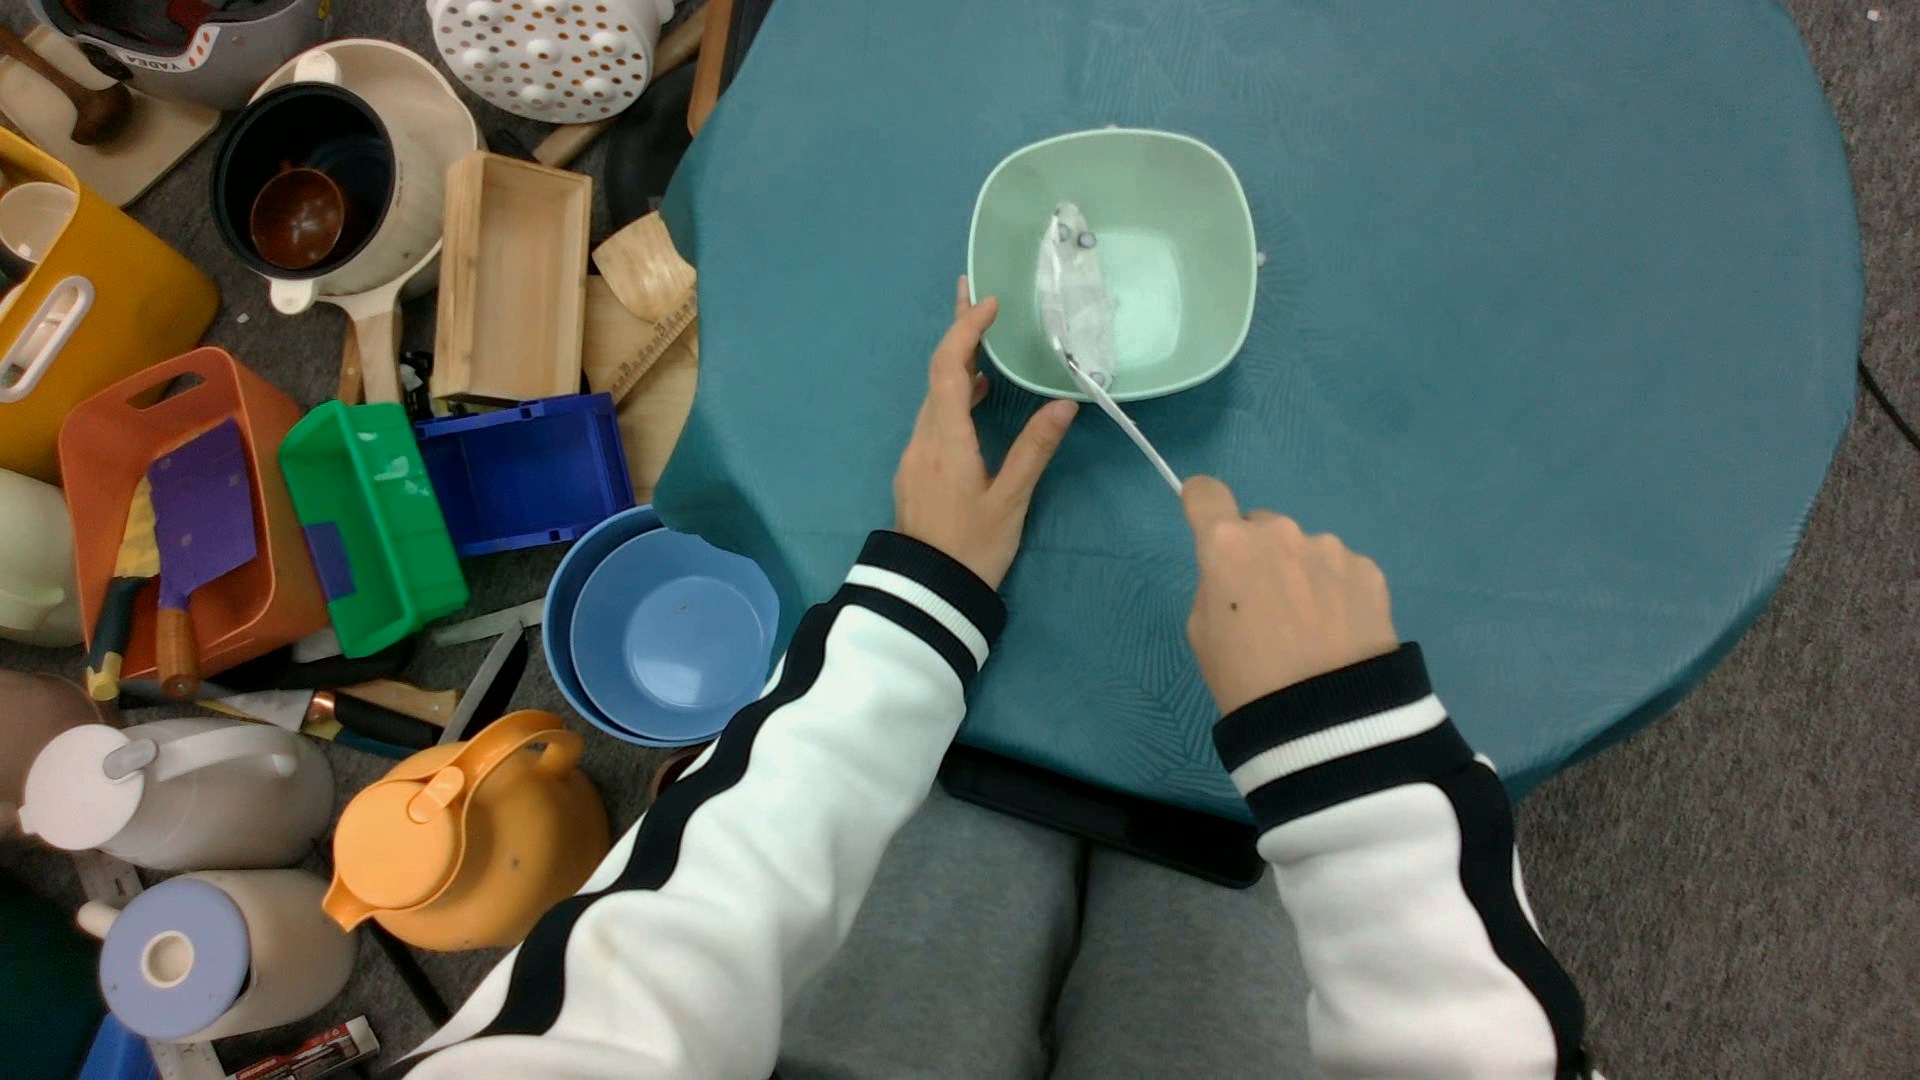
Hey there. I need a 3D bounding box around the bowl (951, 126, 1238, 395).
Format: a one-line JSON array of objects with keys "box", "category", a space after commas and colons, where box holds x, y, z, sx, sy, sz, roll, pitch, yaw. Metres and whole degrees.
[{"box": [0.066, -0.131, 0.692, 0.151, 0.058, 0.152, -1, 77, 3], "category": "bowl"}]

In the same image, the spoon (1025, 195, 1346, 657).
[{"box": [0.098, -0.061, 0.595, 0.059, 0.100, 0.278, -38, 48, 3], "category": "spoon"}]
